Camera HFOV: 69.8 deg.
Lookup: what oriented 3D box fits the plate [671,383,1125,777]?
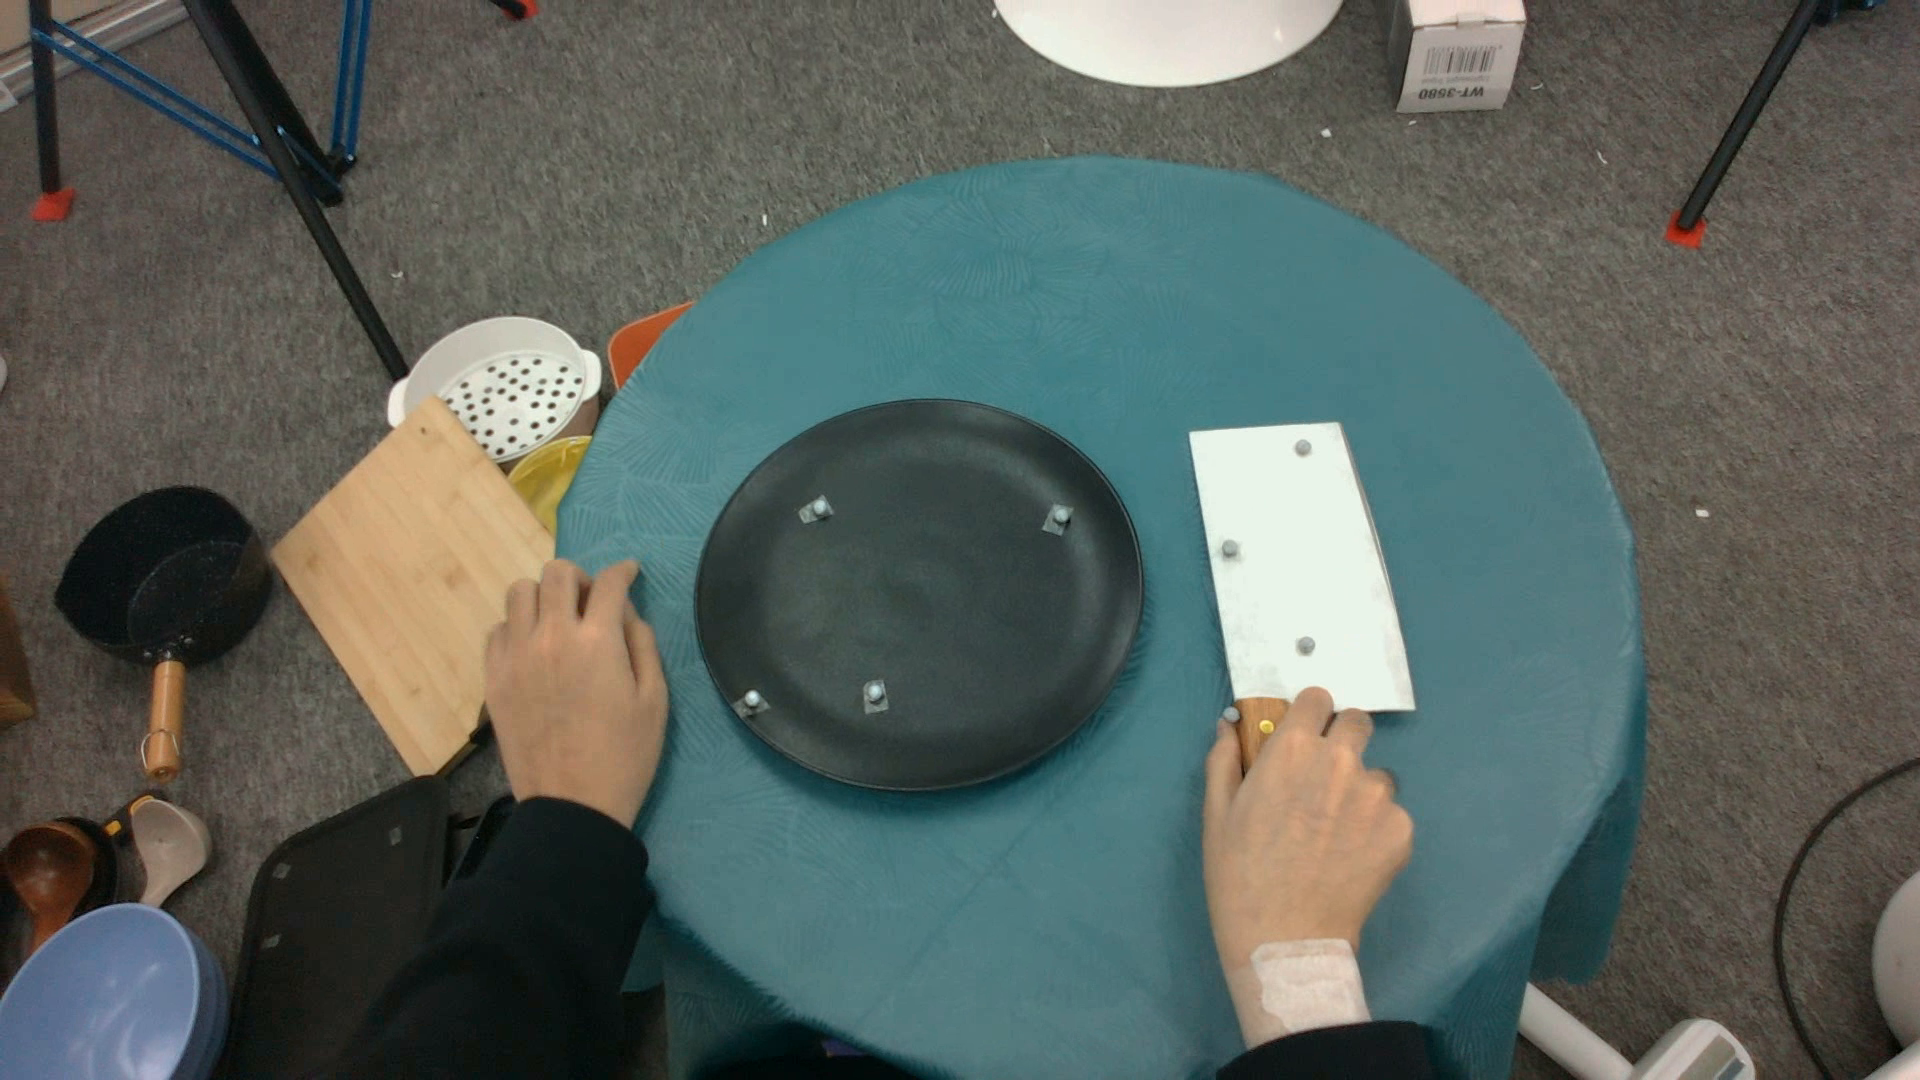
[{"bbox_3d":[-0.034,0.017,0.745,0.244,0.023,0.245,-1,58,2],"label":"plate"}]

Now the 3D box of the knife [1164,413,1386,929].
[{"bbox_3d":[0.169,0.051,0.717,0.093,0.021,0.307,-3,54,0],"label":"knife"}]
